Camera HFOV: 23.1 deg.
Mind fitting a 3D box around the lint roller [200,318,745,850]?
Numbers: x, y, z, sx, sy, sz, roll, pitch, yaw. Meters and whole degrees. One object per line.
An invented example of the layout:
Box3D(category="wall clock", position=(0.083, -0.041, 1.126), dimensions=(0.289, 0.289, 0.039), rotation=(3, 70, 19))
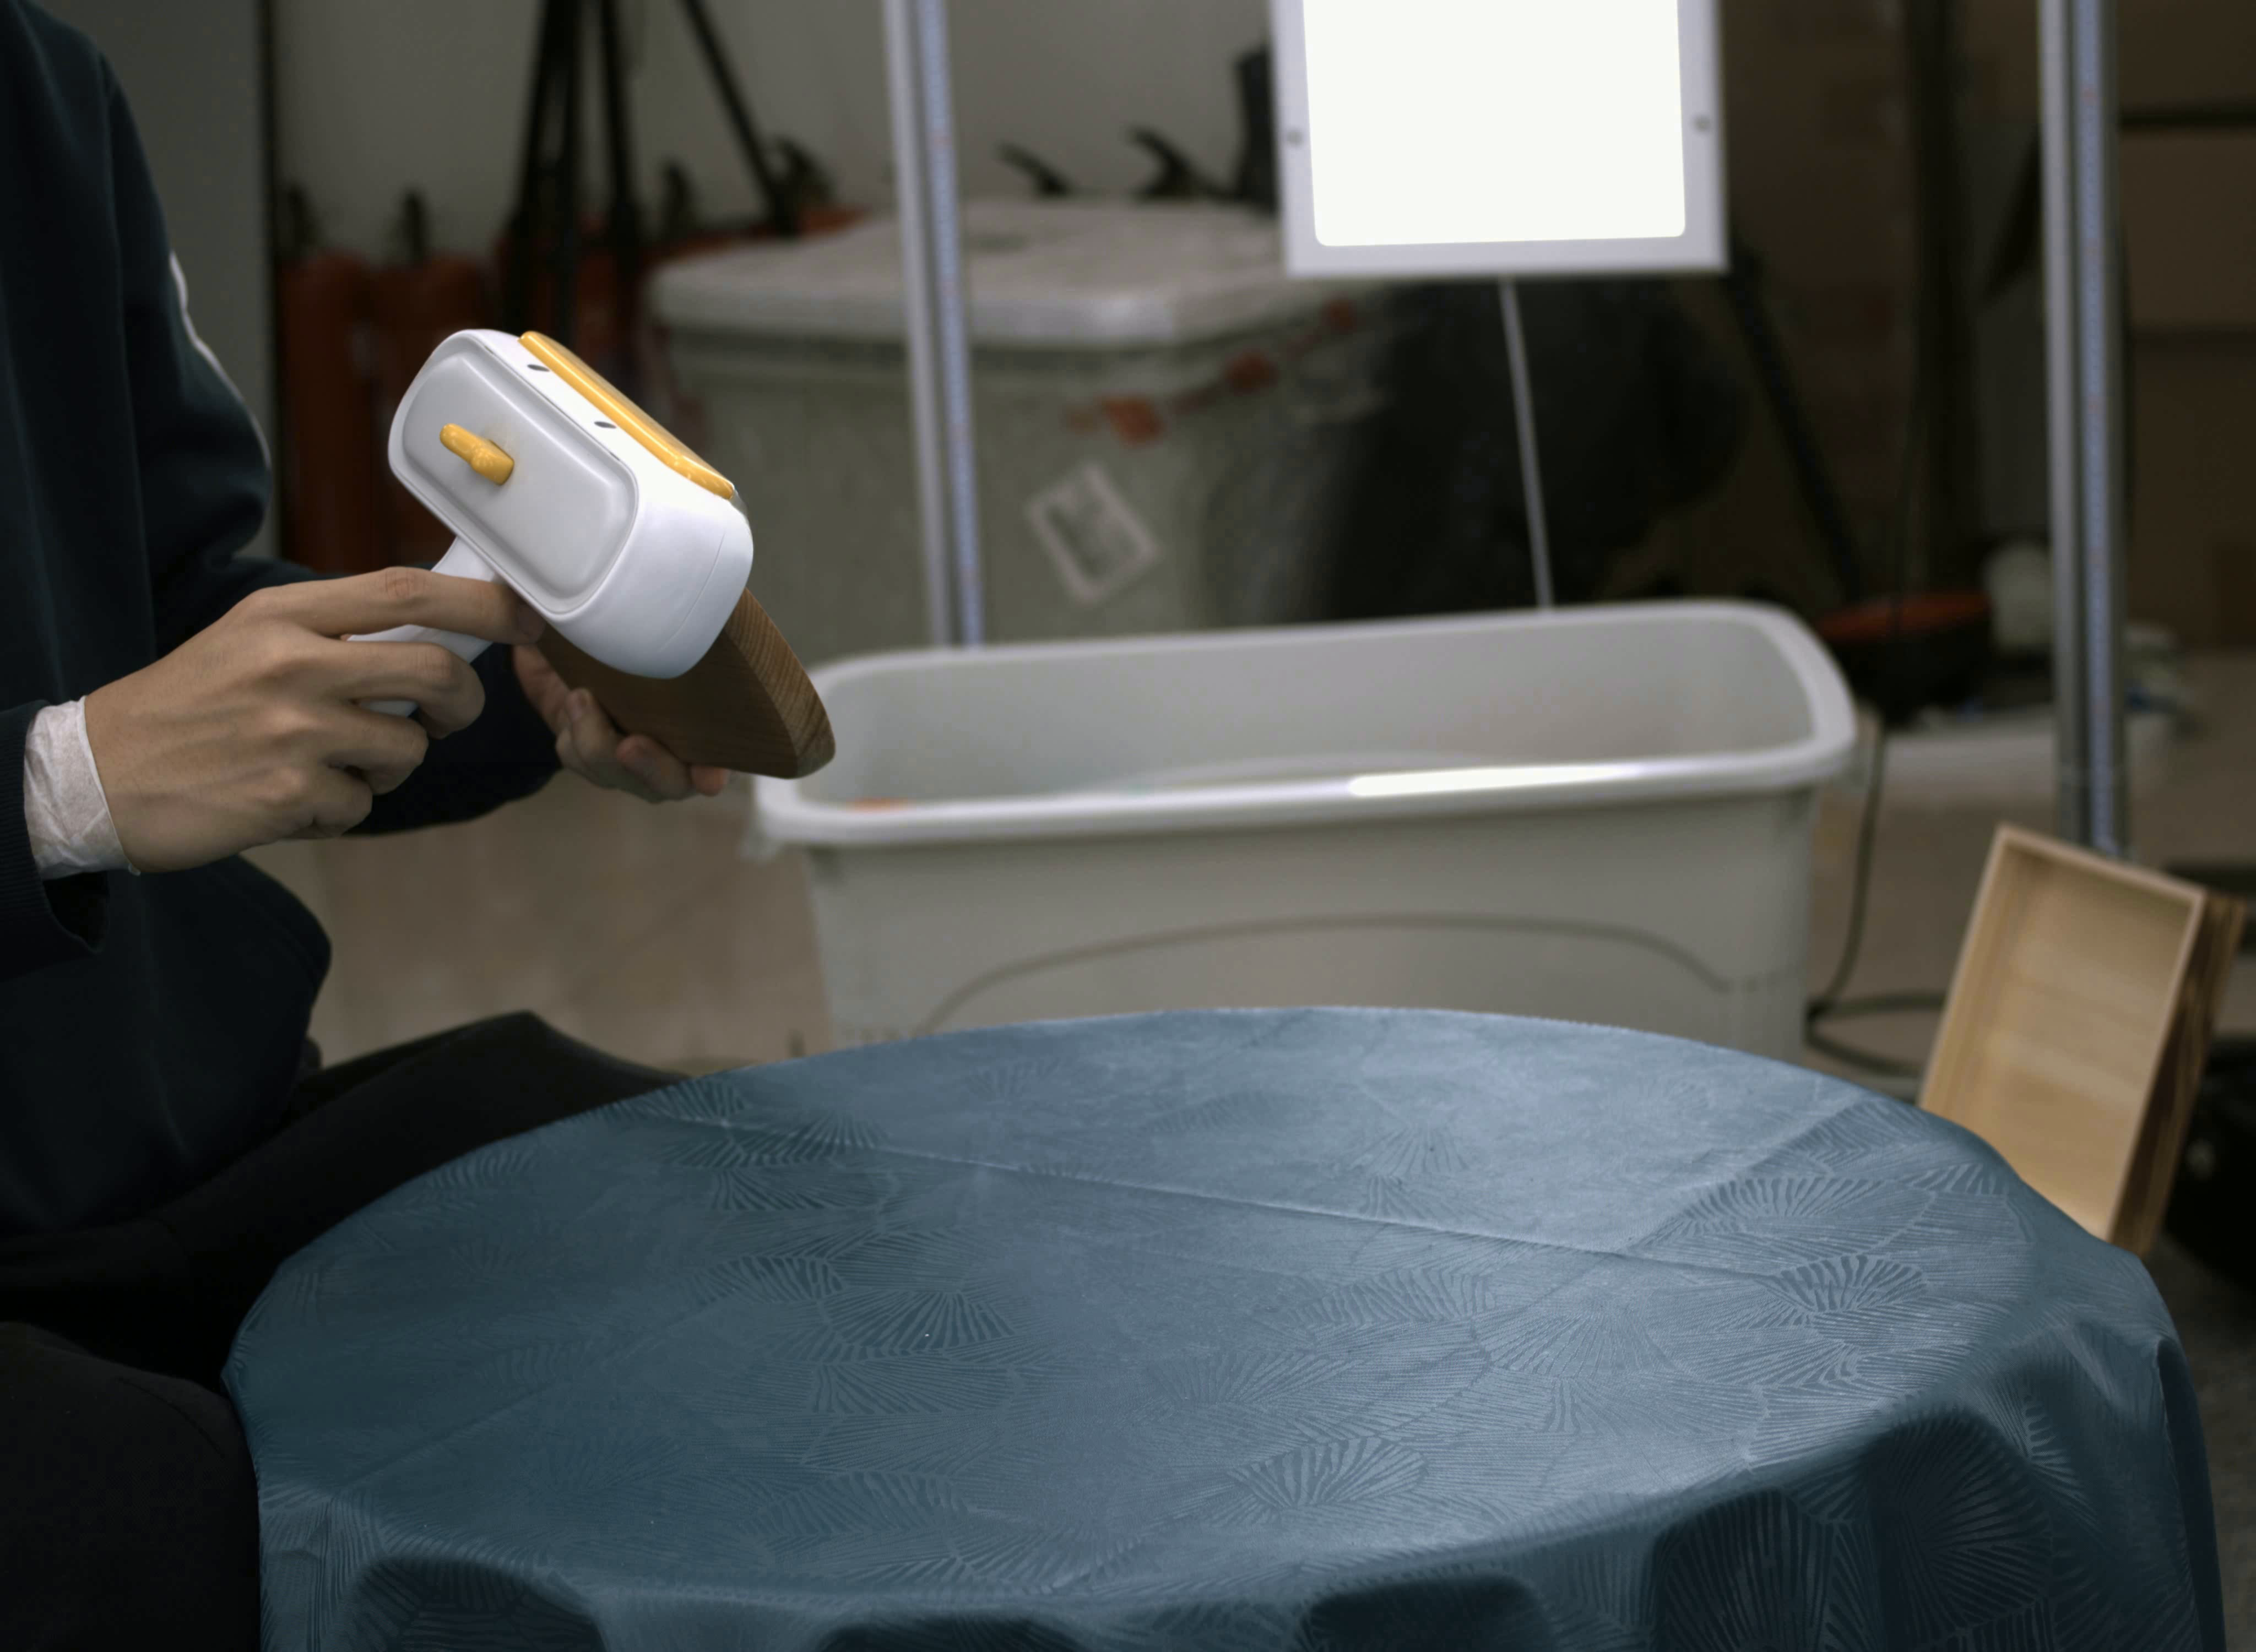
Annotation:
Box3D(category="lint roller", position=(-0.227, -0.067, 1.808), dimensions=(0.073, 0.192, 0.196), rotation=(35, 0, -41))

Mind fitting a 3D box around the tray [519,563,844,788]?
Box3D(category="tray", position=(-0.162, -0.060, 1.914), dimensions=(0.020, 0.101, 0.235), rotation=(-38, 19, -16))
